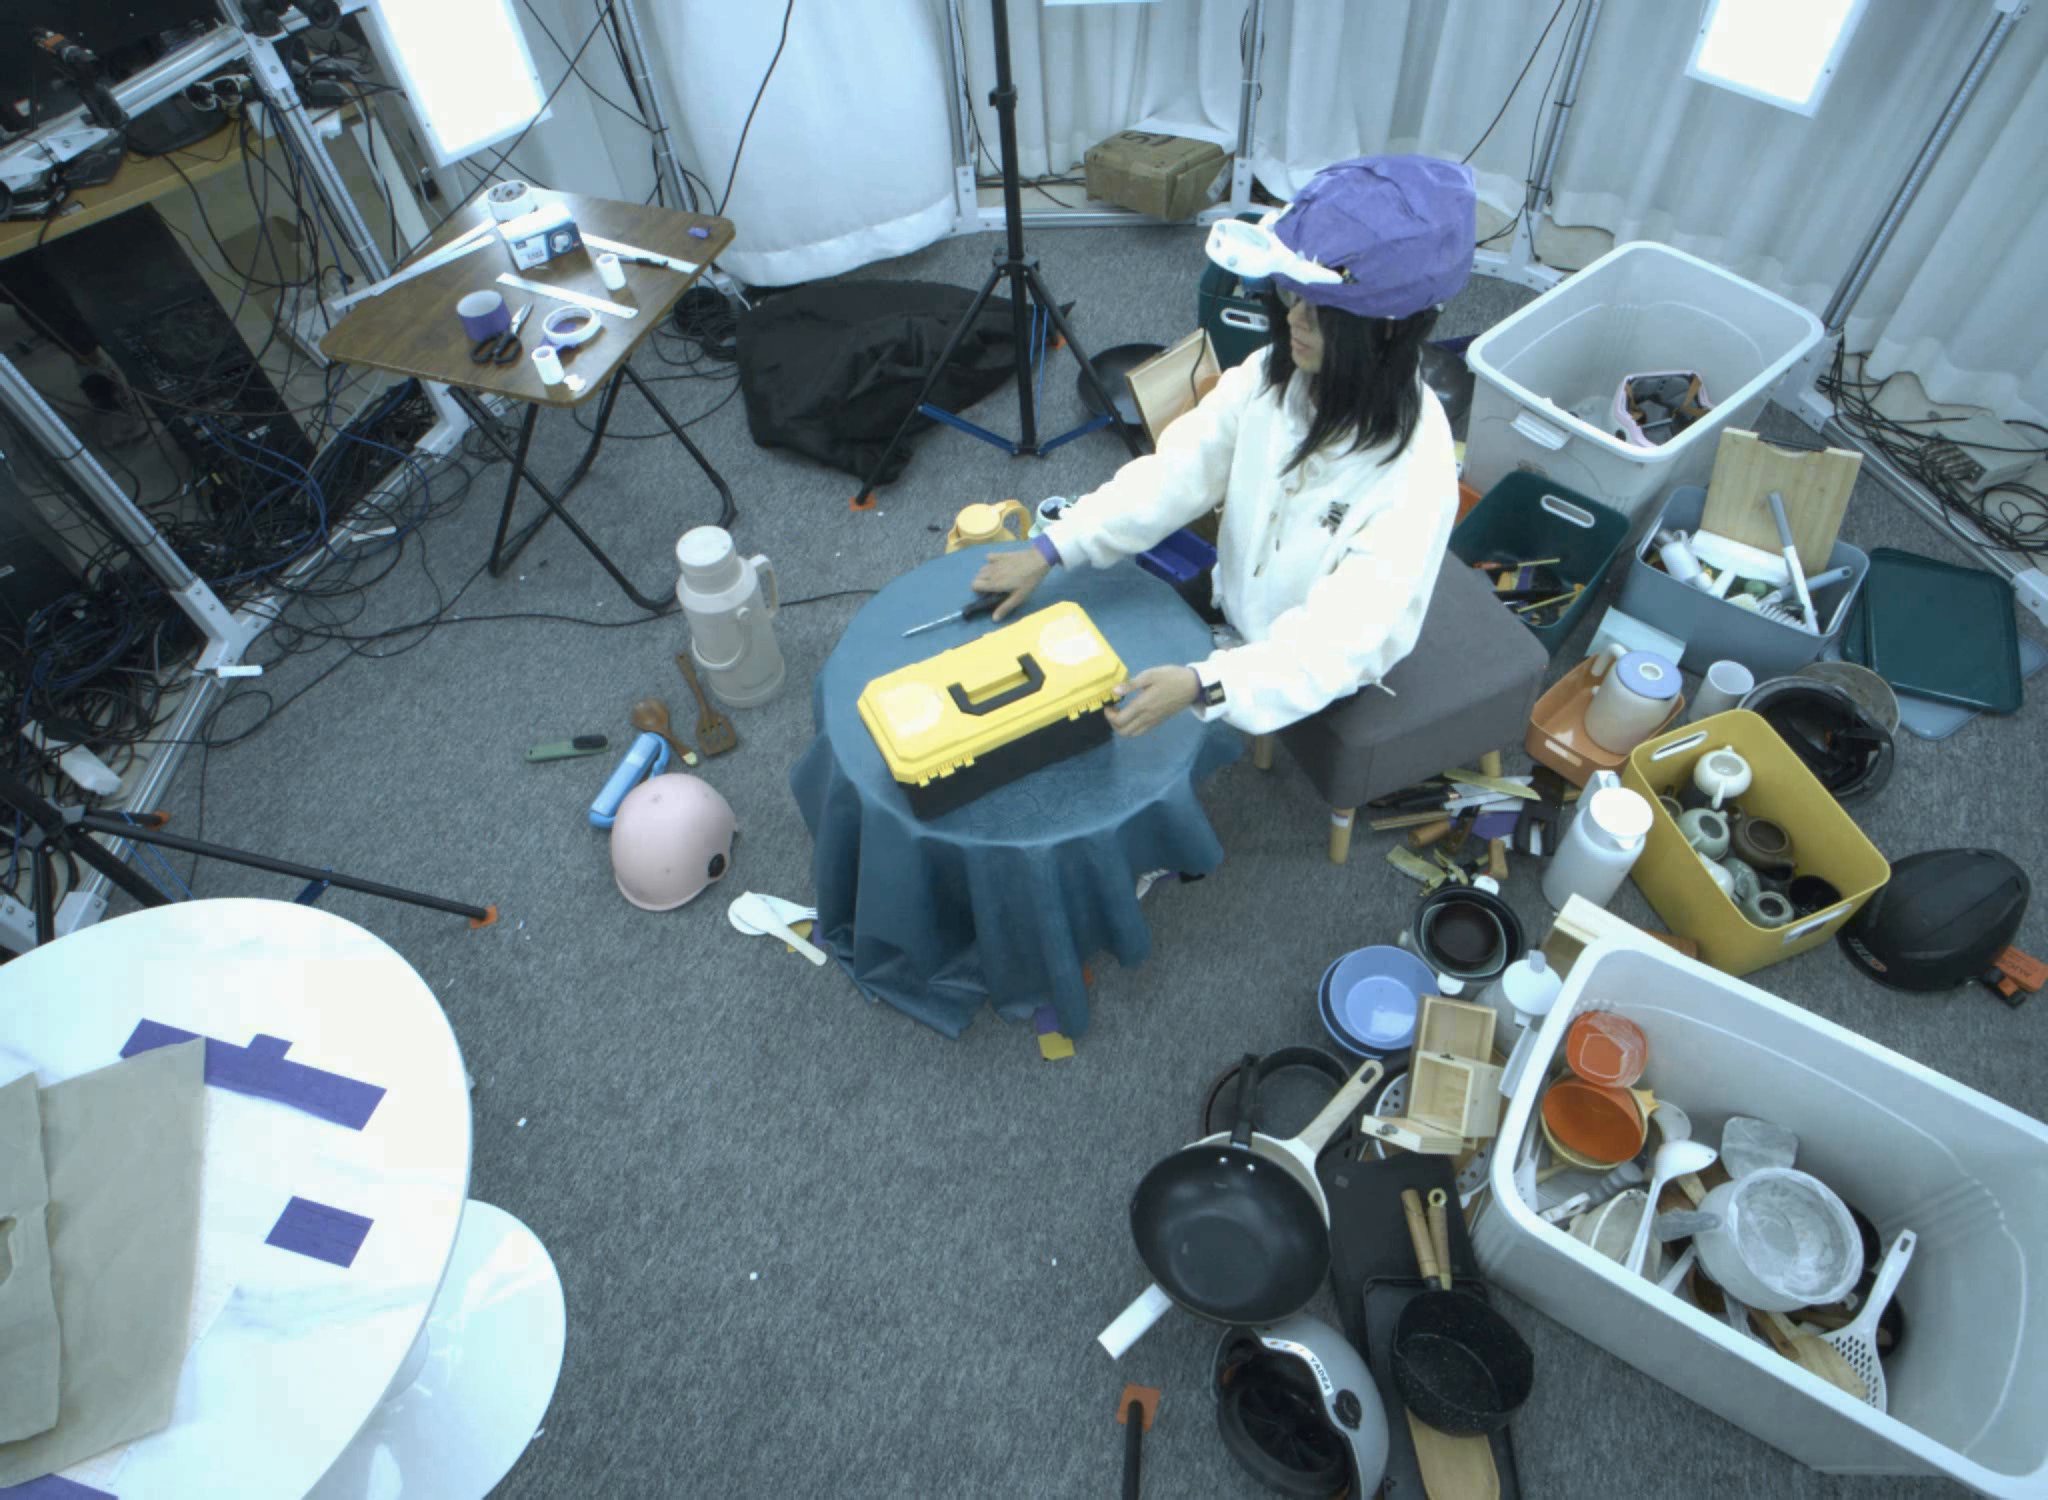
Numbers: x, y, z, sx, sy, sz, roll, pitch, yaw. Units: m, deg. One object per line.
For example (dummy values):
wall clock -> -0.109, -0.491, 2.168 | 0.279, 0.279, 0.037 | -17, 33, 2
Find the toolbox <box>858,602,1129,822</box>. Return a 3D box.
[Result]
toolbox -> -0.039, -0.052, 1.719 | 0.354, 0.175, 0.178 | -24, 57, -14

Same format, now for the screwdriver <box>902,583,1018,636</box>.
screwdriver -> -0.102, -0.221, 1.927 | 0.197, 0.032, 0.031 | -20, 57, -10
